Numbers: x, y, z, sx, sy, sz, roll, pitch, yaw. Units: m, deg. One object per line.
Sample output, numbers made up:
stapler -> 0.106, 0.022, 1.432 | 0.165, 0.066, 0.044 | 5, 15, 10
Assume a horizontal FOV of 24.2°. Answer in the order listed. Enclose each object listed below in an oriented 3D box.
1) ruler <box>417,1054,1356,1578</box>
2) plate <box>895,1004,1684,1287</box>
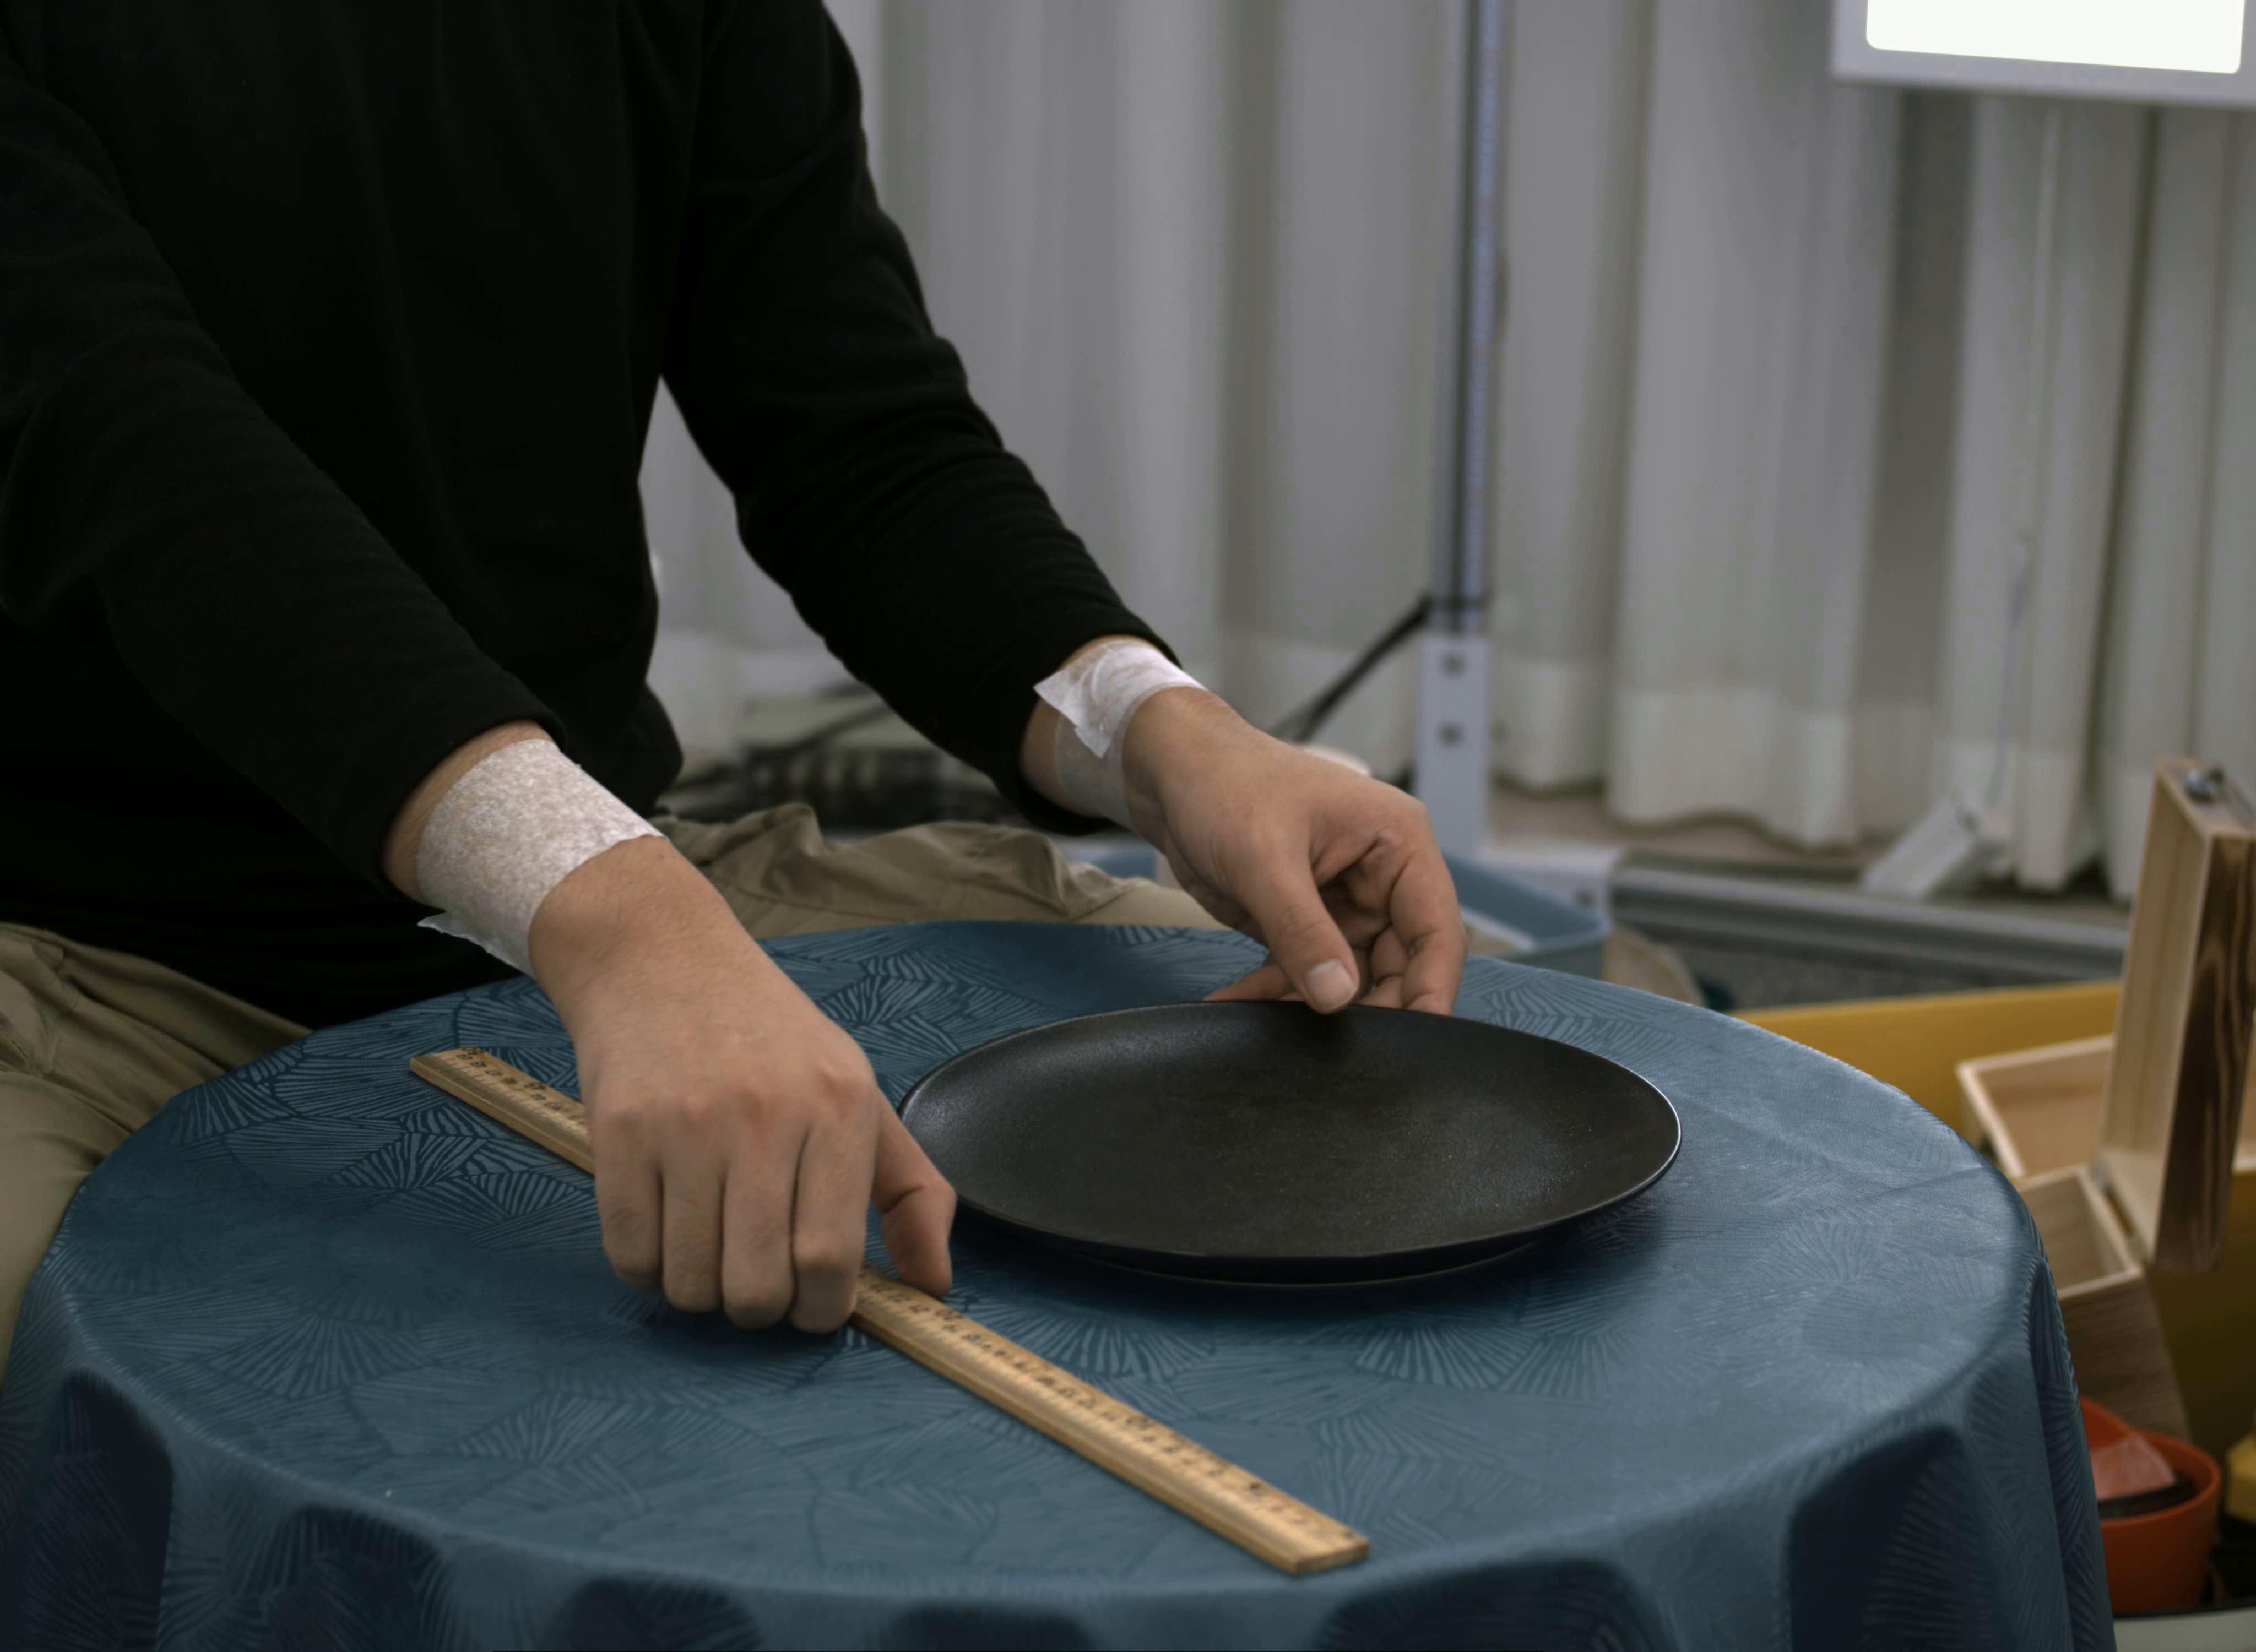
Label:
ruler -> -0.087, 0.132, 1.537 | 0.027, 0.006, 0.494 | -5, 16, -34
plate -> 0.050, 0.100, 1.623 | 0.243, 0.023, 0.243 | 0, 15, 0
